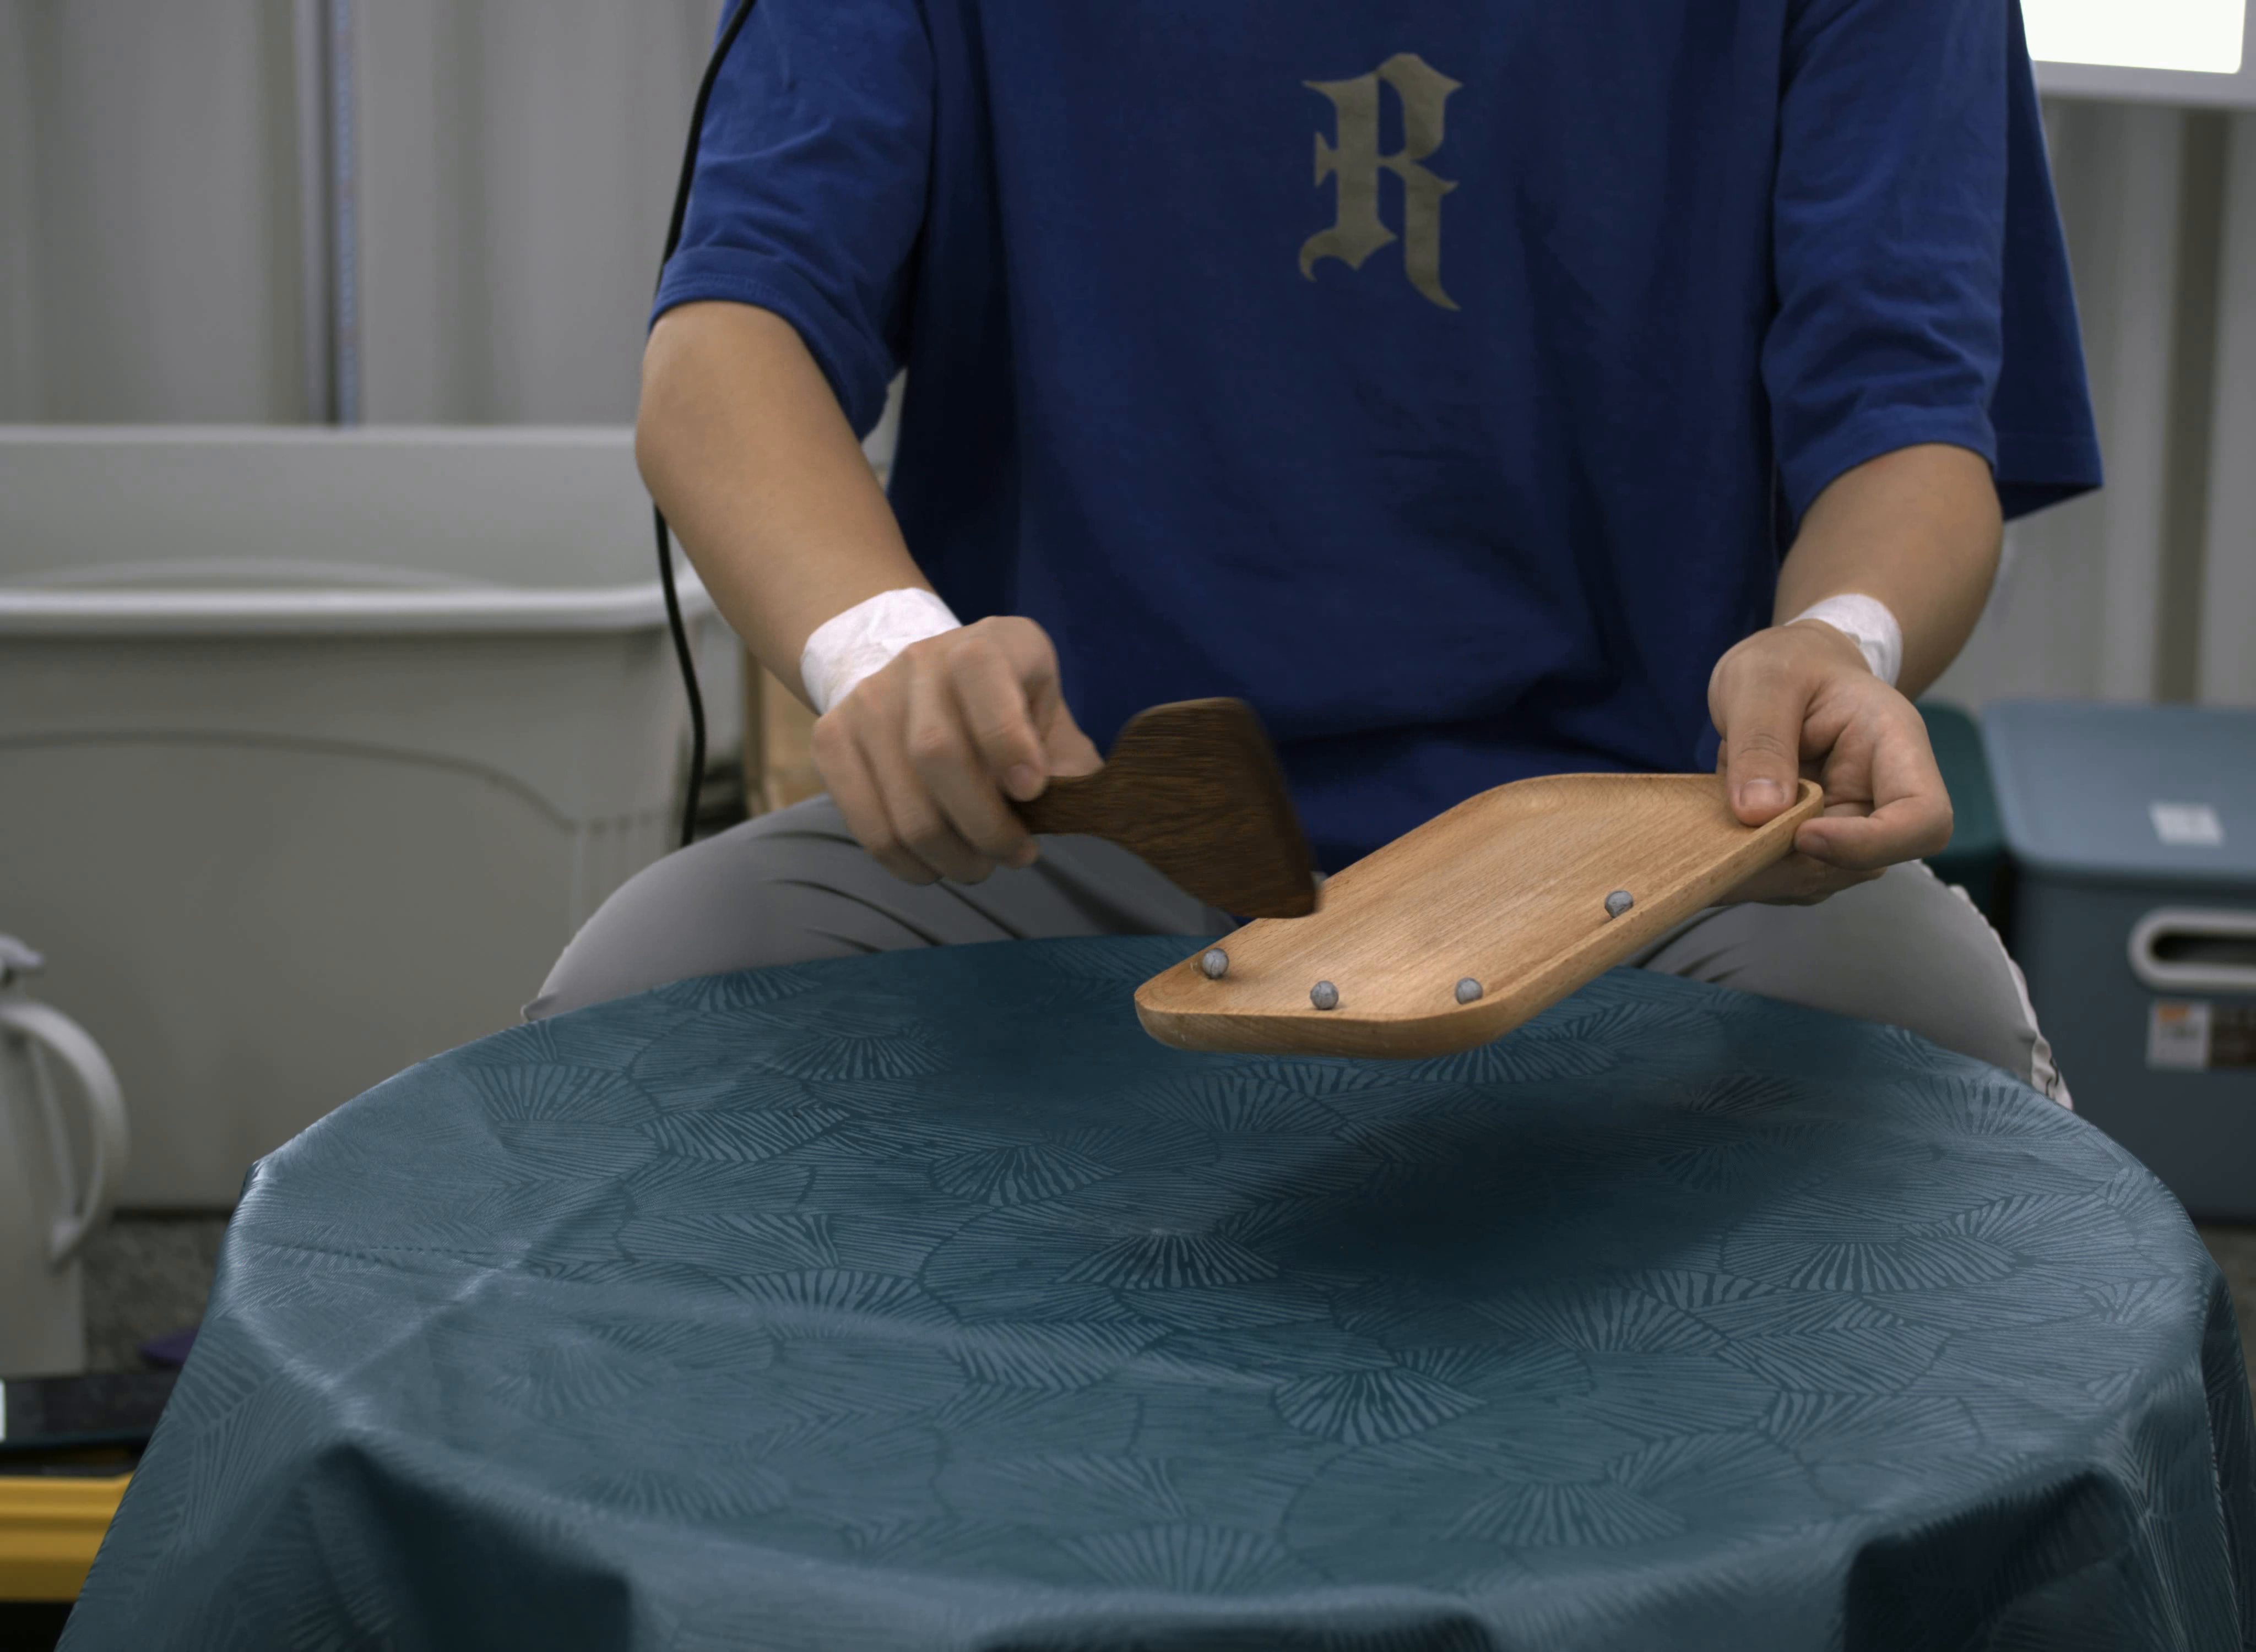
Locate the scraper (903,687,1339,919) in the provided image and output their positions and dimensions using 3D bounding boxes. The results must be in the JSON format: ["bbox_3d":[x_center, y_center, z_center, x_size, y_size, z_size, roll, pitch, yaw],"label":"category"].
[{"bbox_3d":[-0.009,-0.008,1.642,0.011,0.076,0.209,-32,20,-31],"label":"scraper"}]

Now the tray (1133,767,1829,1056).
[{"bbox_3d":[0.112,0.024,1.617,0.129,0.023,0.251,5,19,35],"label":"tray"}]
